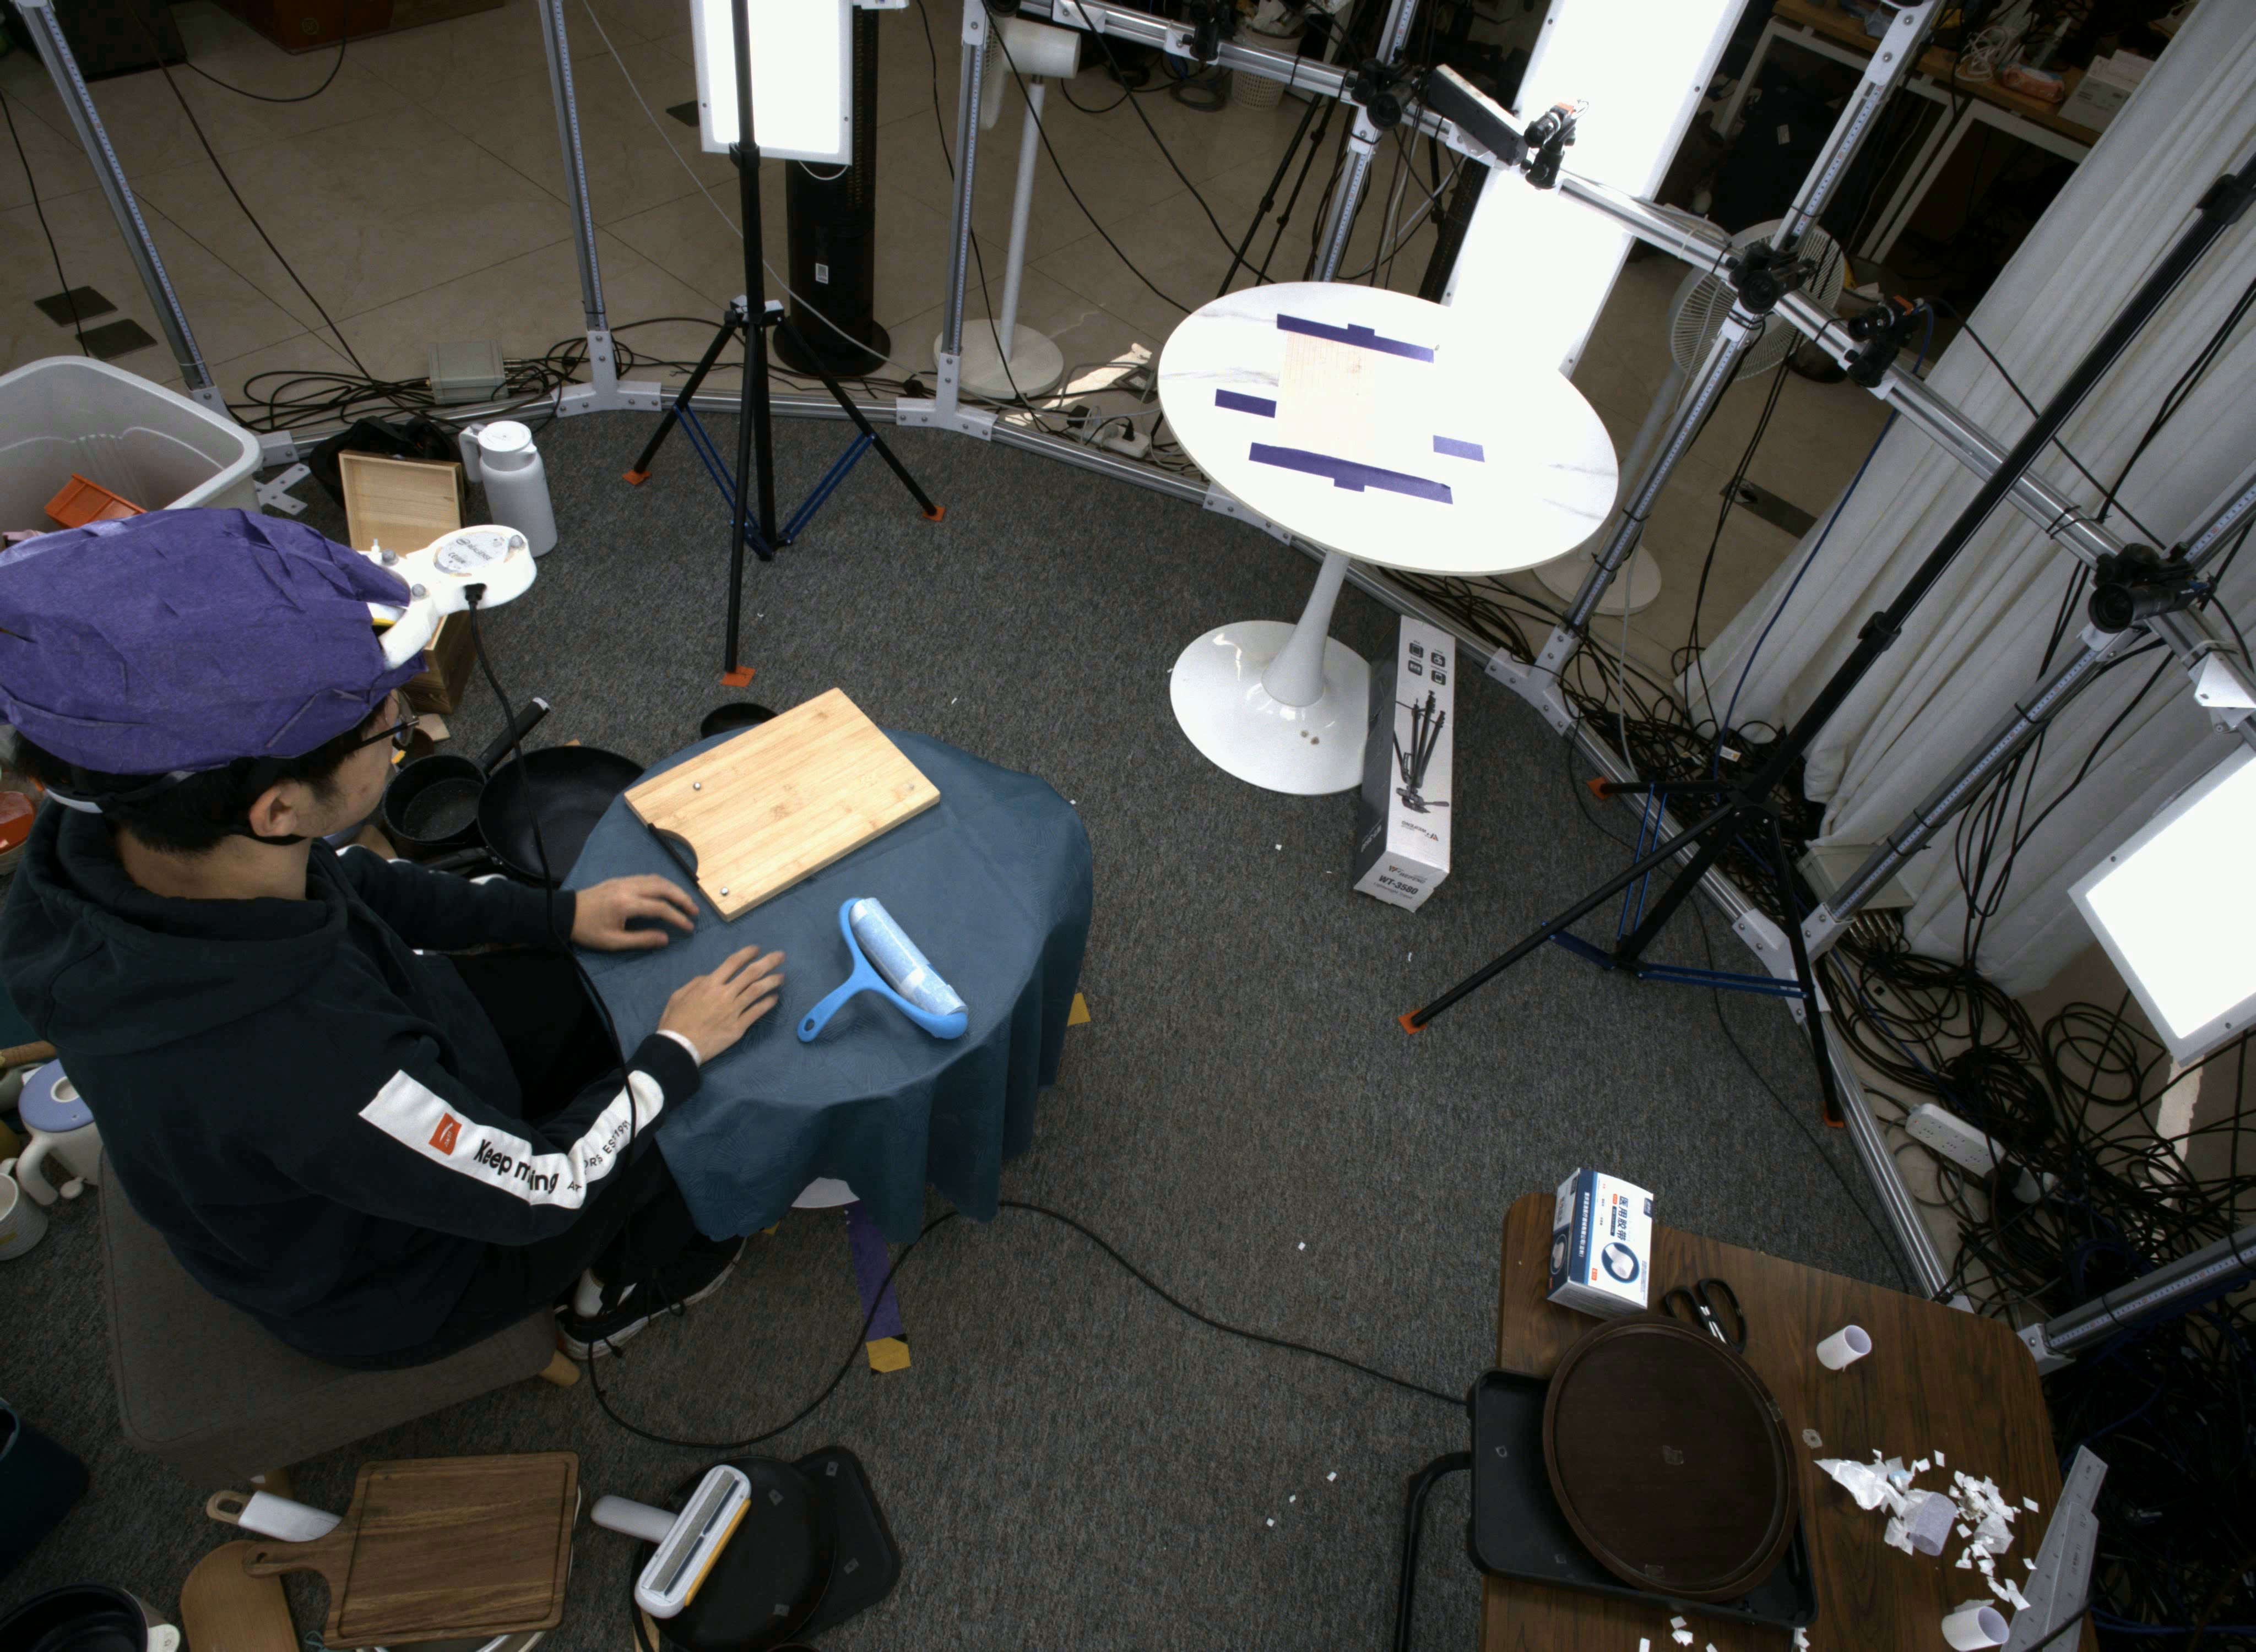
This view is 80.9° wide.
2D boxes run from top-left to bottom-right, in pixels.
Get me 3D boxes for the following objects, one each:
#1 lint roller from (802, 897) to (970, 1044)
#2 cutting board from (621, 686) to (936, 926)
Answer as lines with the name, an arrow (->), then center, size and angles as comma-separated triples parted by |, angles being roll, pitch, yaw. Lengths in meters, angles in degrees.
lint roller -> -0.317, 0.197, 1.576 | 0.224, 0.069, 0.181 | 44, 55, 17
cutting board -> -0.464, -0.037, 1.737 | 0.349, 0.024, 0.245 | -34, 69, -33
